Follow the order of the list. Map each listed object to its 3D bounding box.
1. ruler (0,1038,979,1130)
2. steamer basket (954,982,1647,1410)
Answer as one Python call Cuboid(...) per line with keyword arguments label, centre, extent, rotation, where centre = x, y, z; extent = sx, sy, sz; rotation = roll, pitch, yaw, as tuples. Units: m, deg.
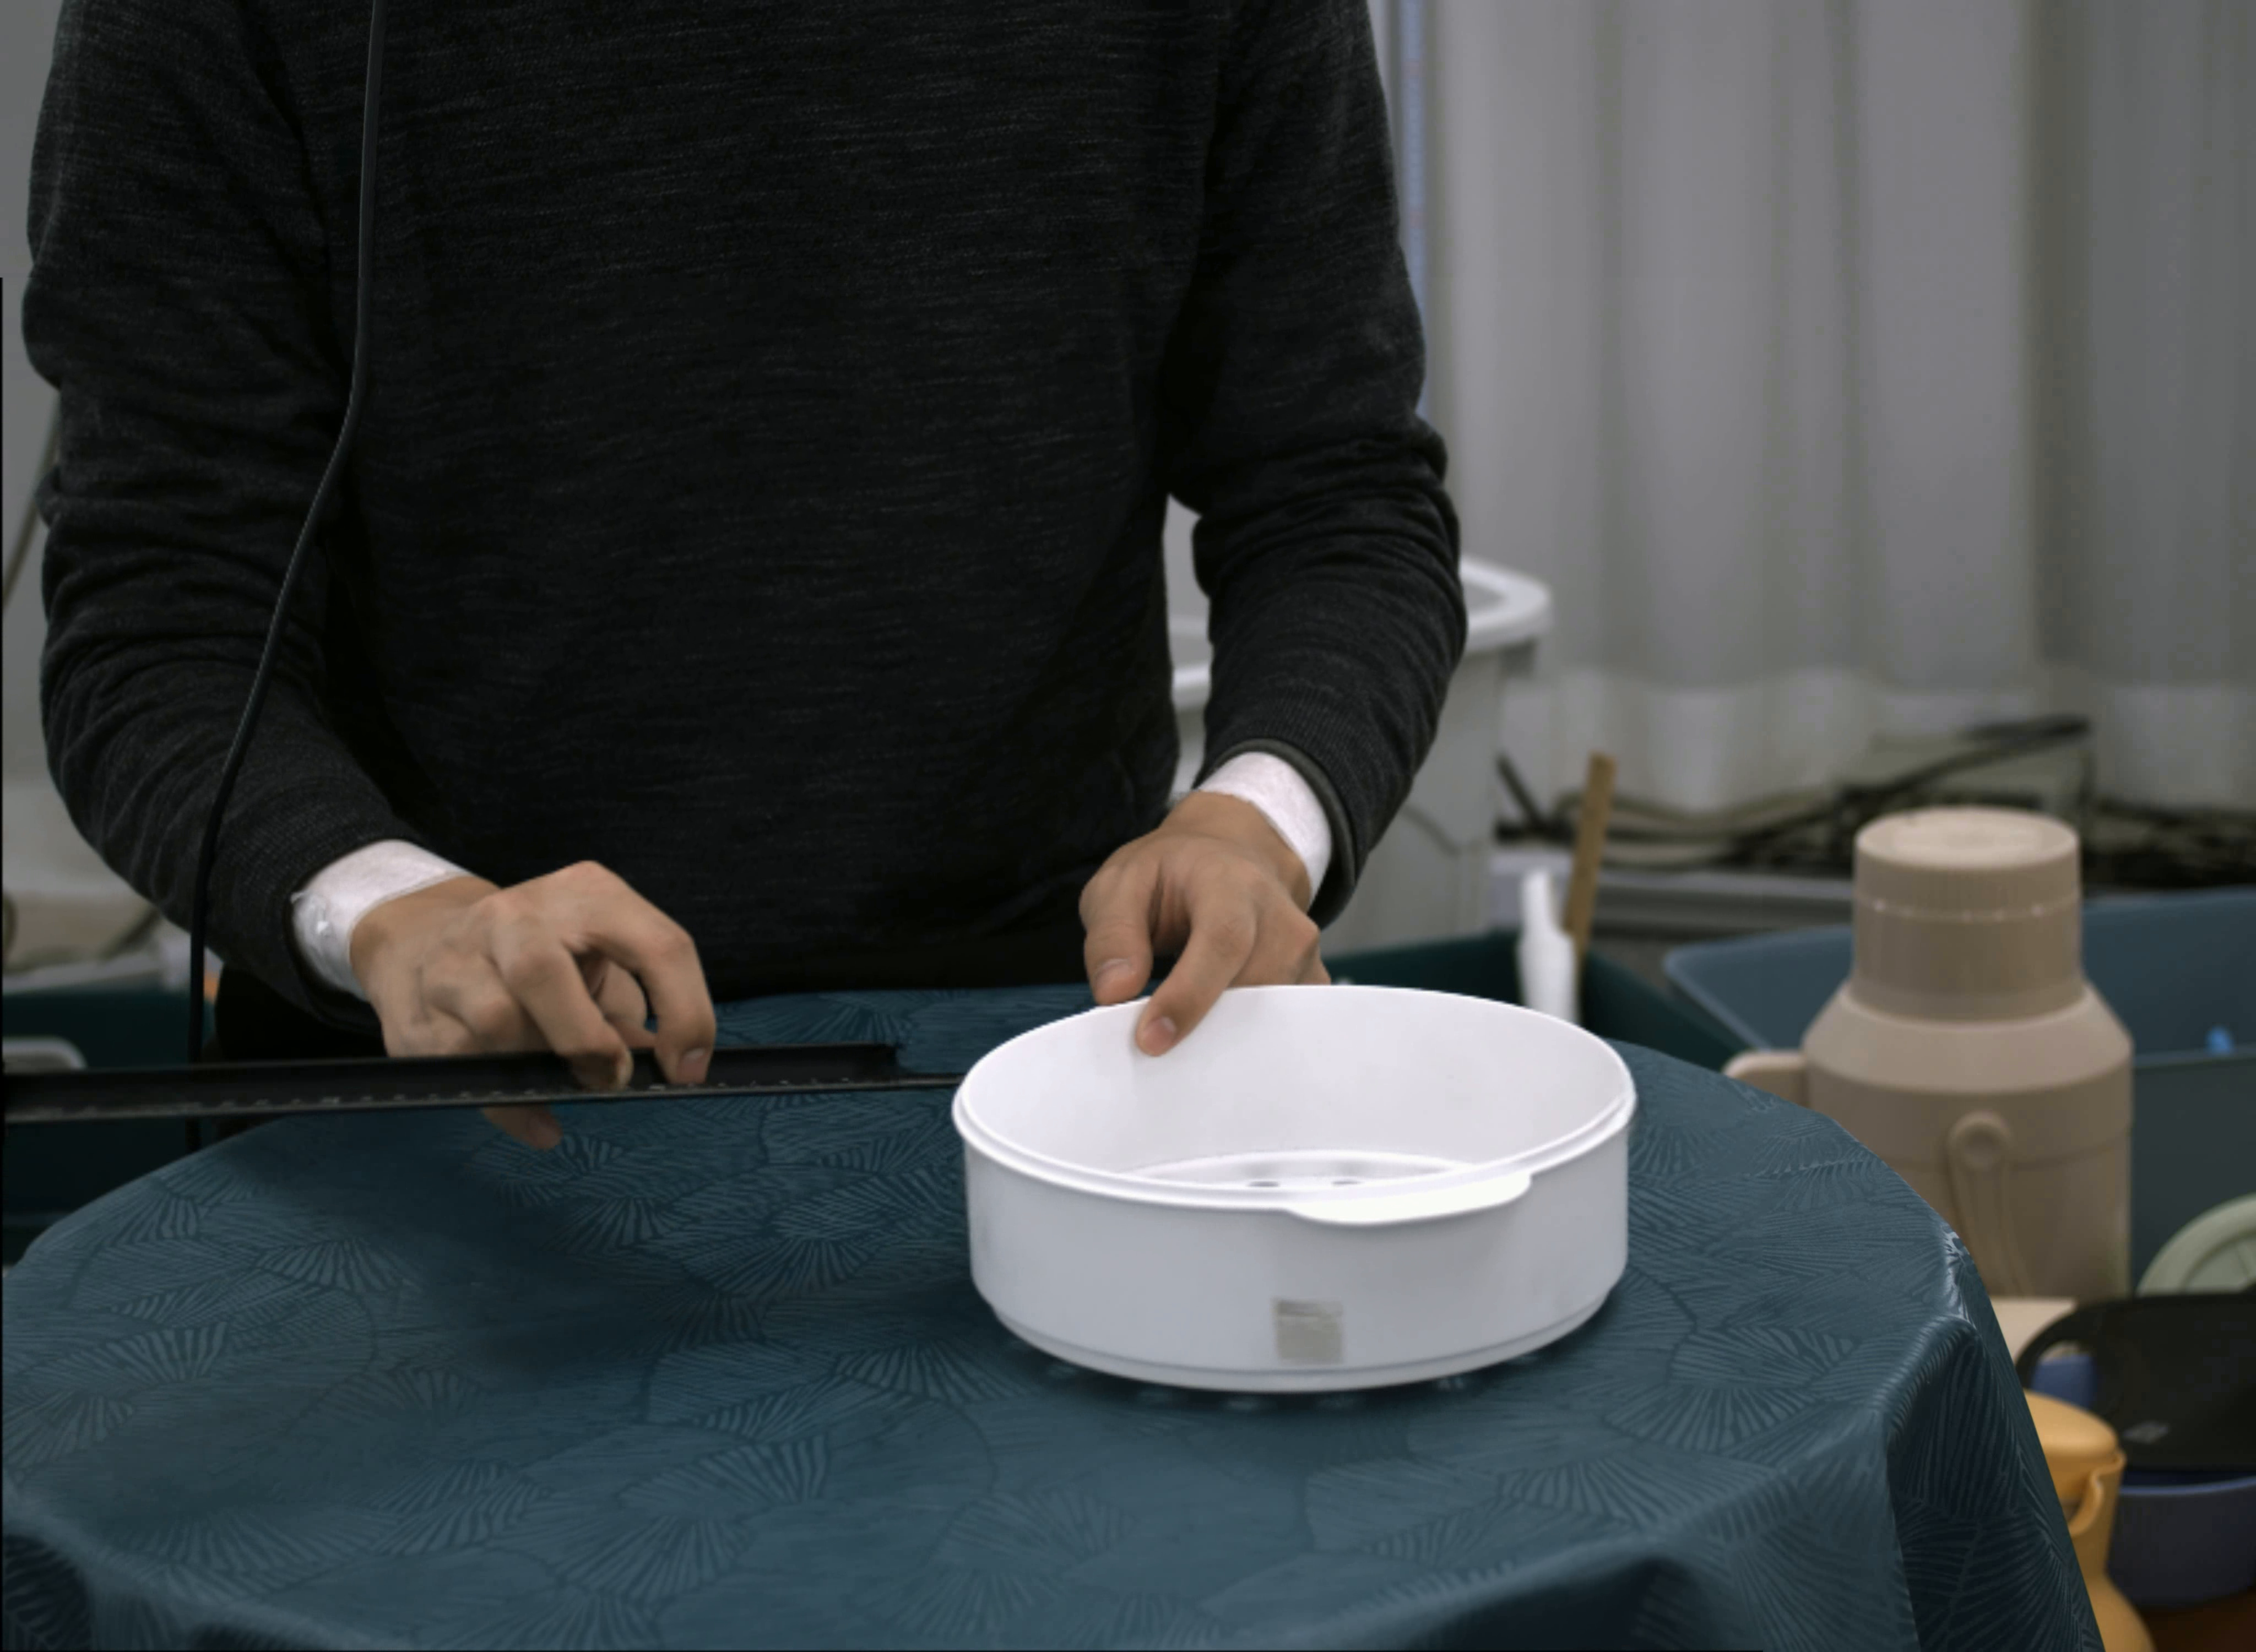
Cuboid(label="ruler", centre=(-0.190, 0.074, 1.571), extent=(0.310, 0.017, 0.039), rotation=(-1, -2, -26))
Cuboid(label="steamer basket", centre=(0.050, 0.107, 1.595), extent=(0.201, 0.069, 0.232), rotation=(-6, 17, -17))
